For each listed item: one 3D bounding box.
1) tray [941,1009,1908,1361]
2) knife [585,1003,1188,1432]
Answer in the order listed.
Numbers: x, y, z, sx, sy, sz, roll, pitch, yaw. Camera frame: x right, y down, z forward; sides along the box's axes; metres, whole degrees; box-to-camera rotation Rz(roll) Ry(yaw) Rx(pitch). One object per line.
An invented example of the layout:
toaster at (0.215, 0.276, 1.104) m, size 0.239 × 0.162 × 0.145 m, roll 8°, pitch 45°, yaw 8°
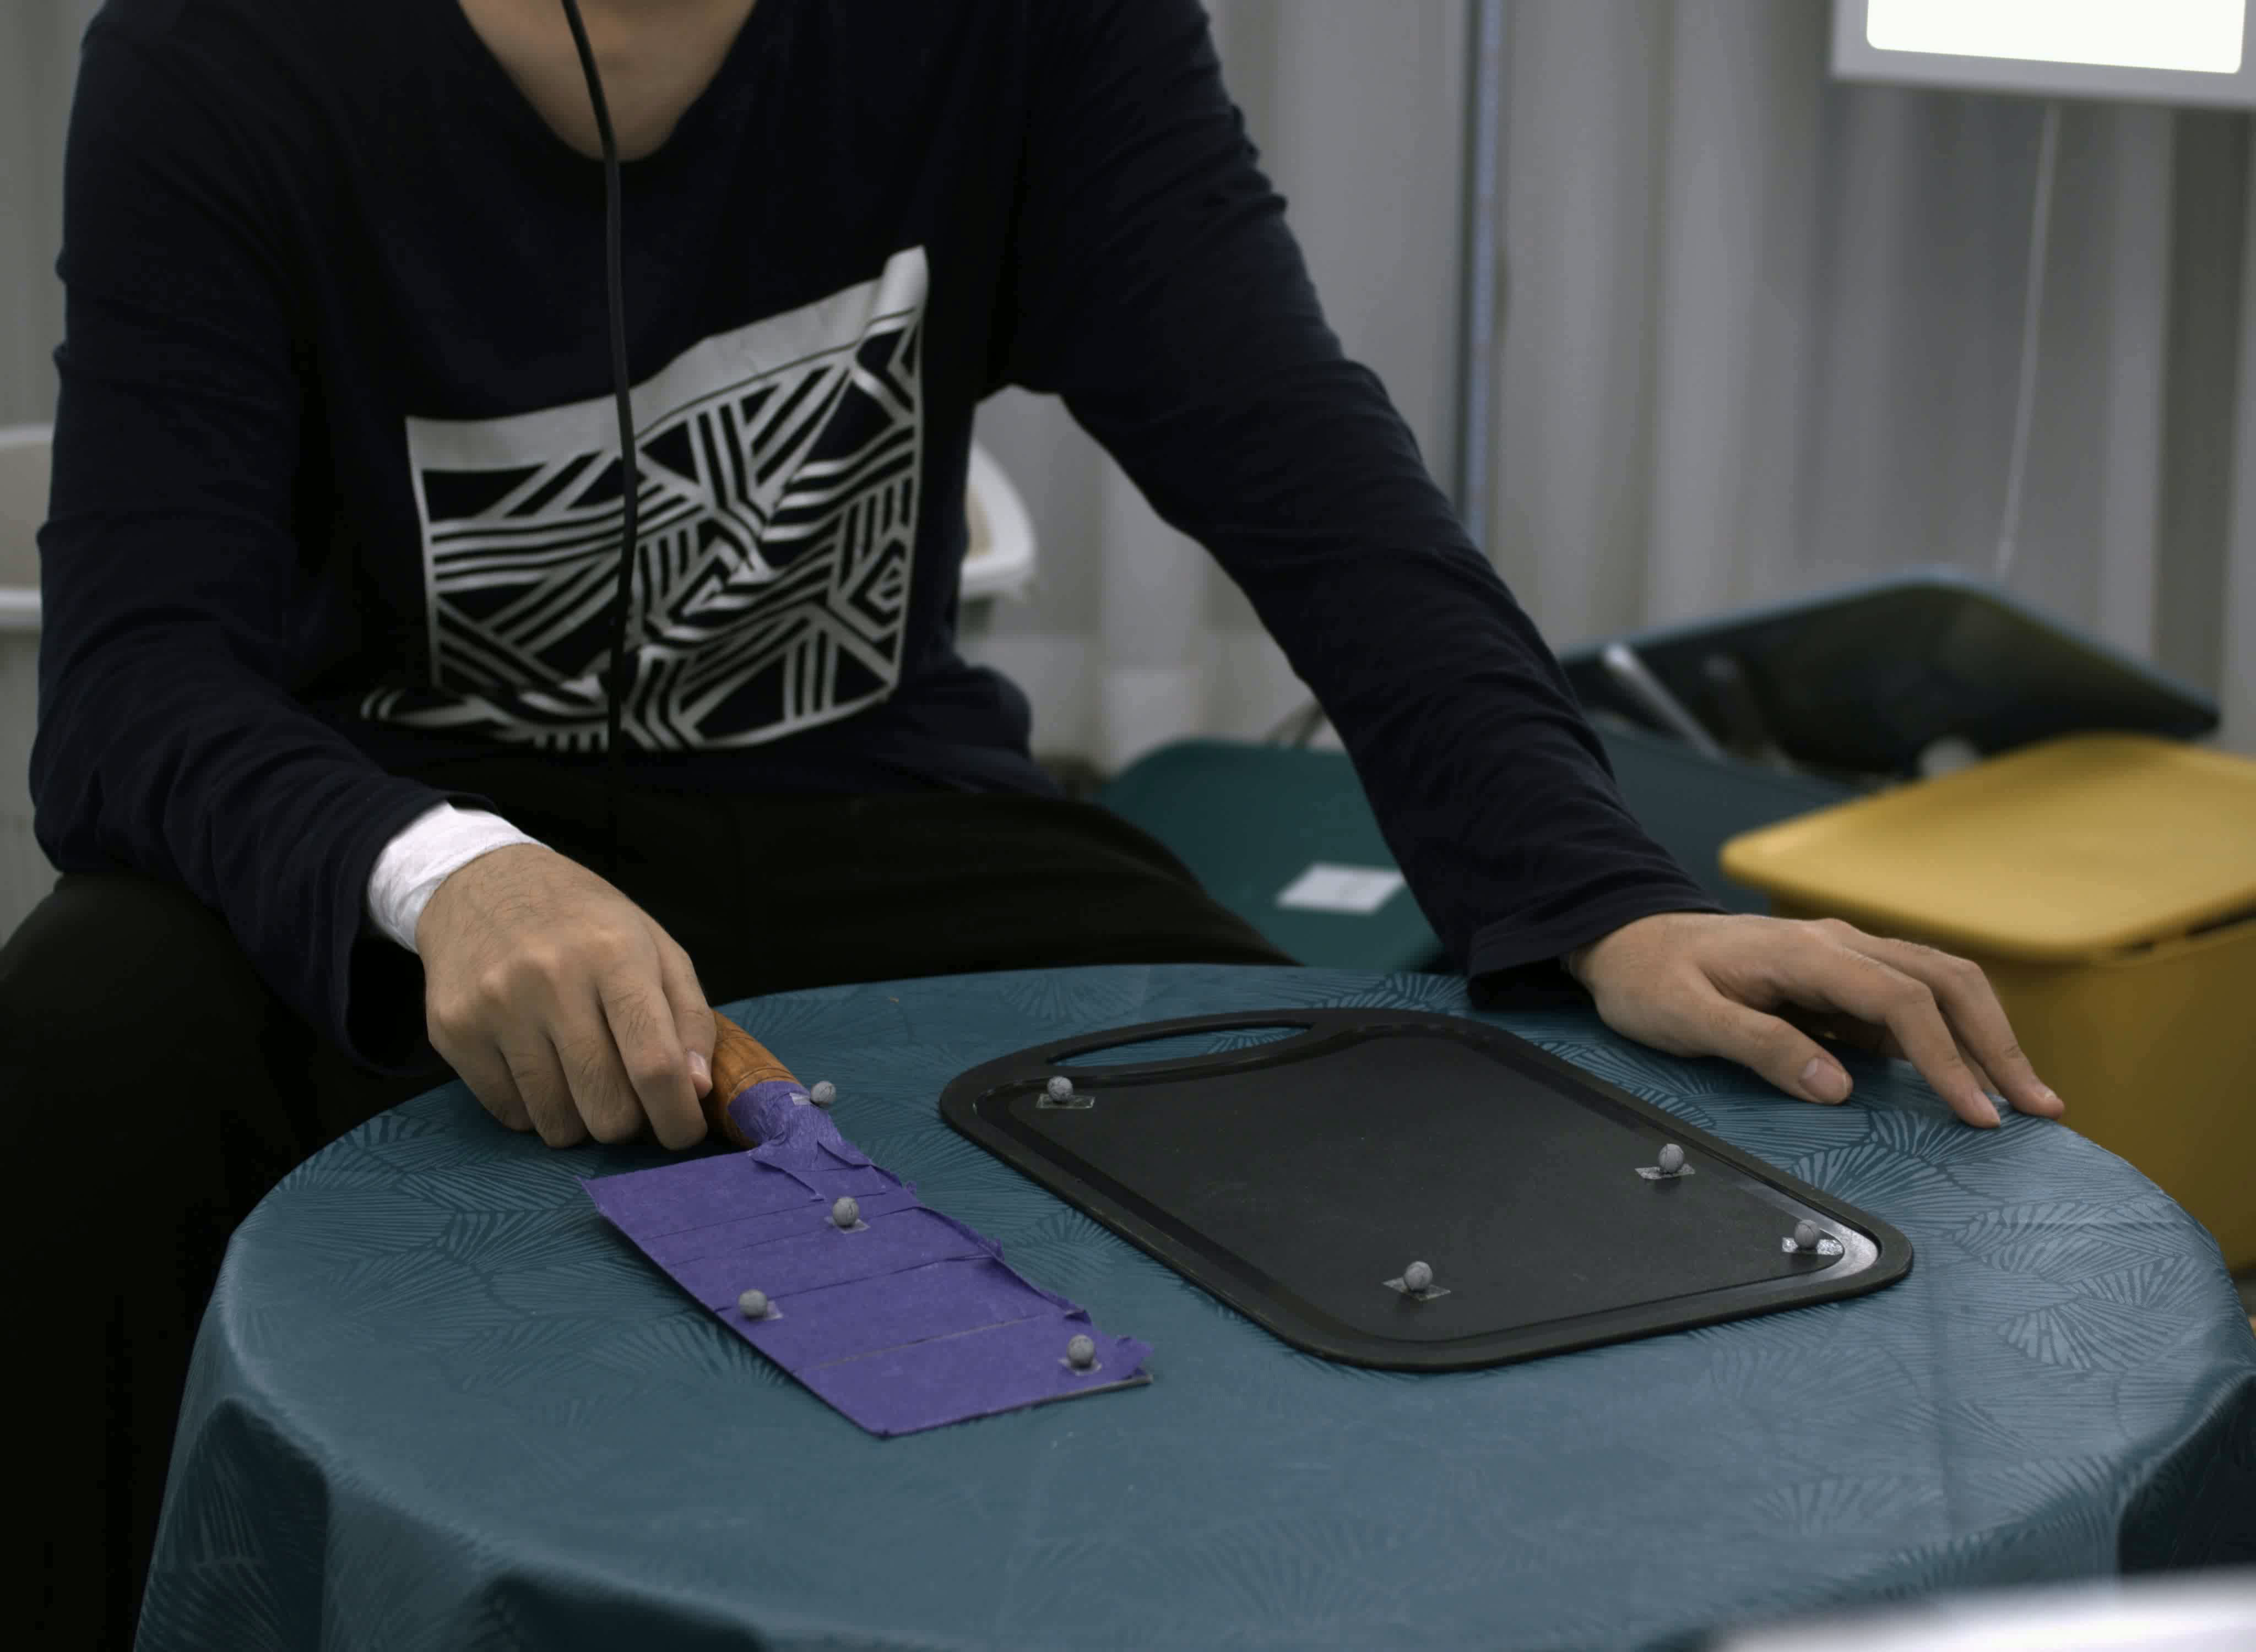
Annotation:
tray at (0.081, 0.104, 1.644) m, size 0.212 × 0.010 × 0.321 m, roll -7°, pitch 17°, yaw -27°
knife at (-0.103, 0.113, 1.570) m, size 0.104 × 0.032 × 0.311 m, roll -8°, pitch 18°, yaw -29°
